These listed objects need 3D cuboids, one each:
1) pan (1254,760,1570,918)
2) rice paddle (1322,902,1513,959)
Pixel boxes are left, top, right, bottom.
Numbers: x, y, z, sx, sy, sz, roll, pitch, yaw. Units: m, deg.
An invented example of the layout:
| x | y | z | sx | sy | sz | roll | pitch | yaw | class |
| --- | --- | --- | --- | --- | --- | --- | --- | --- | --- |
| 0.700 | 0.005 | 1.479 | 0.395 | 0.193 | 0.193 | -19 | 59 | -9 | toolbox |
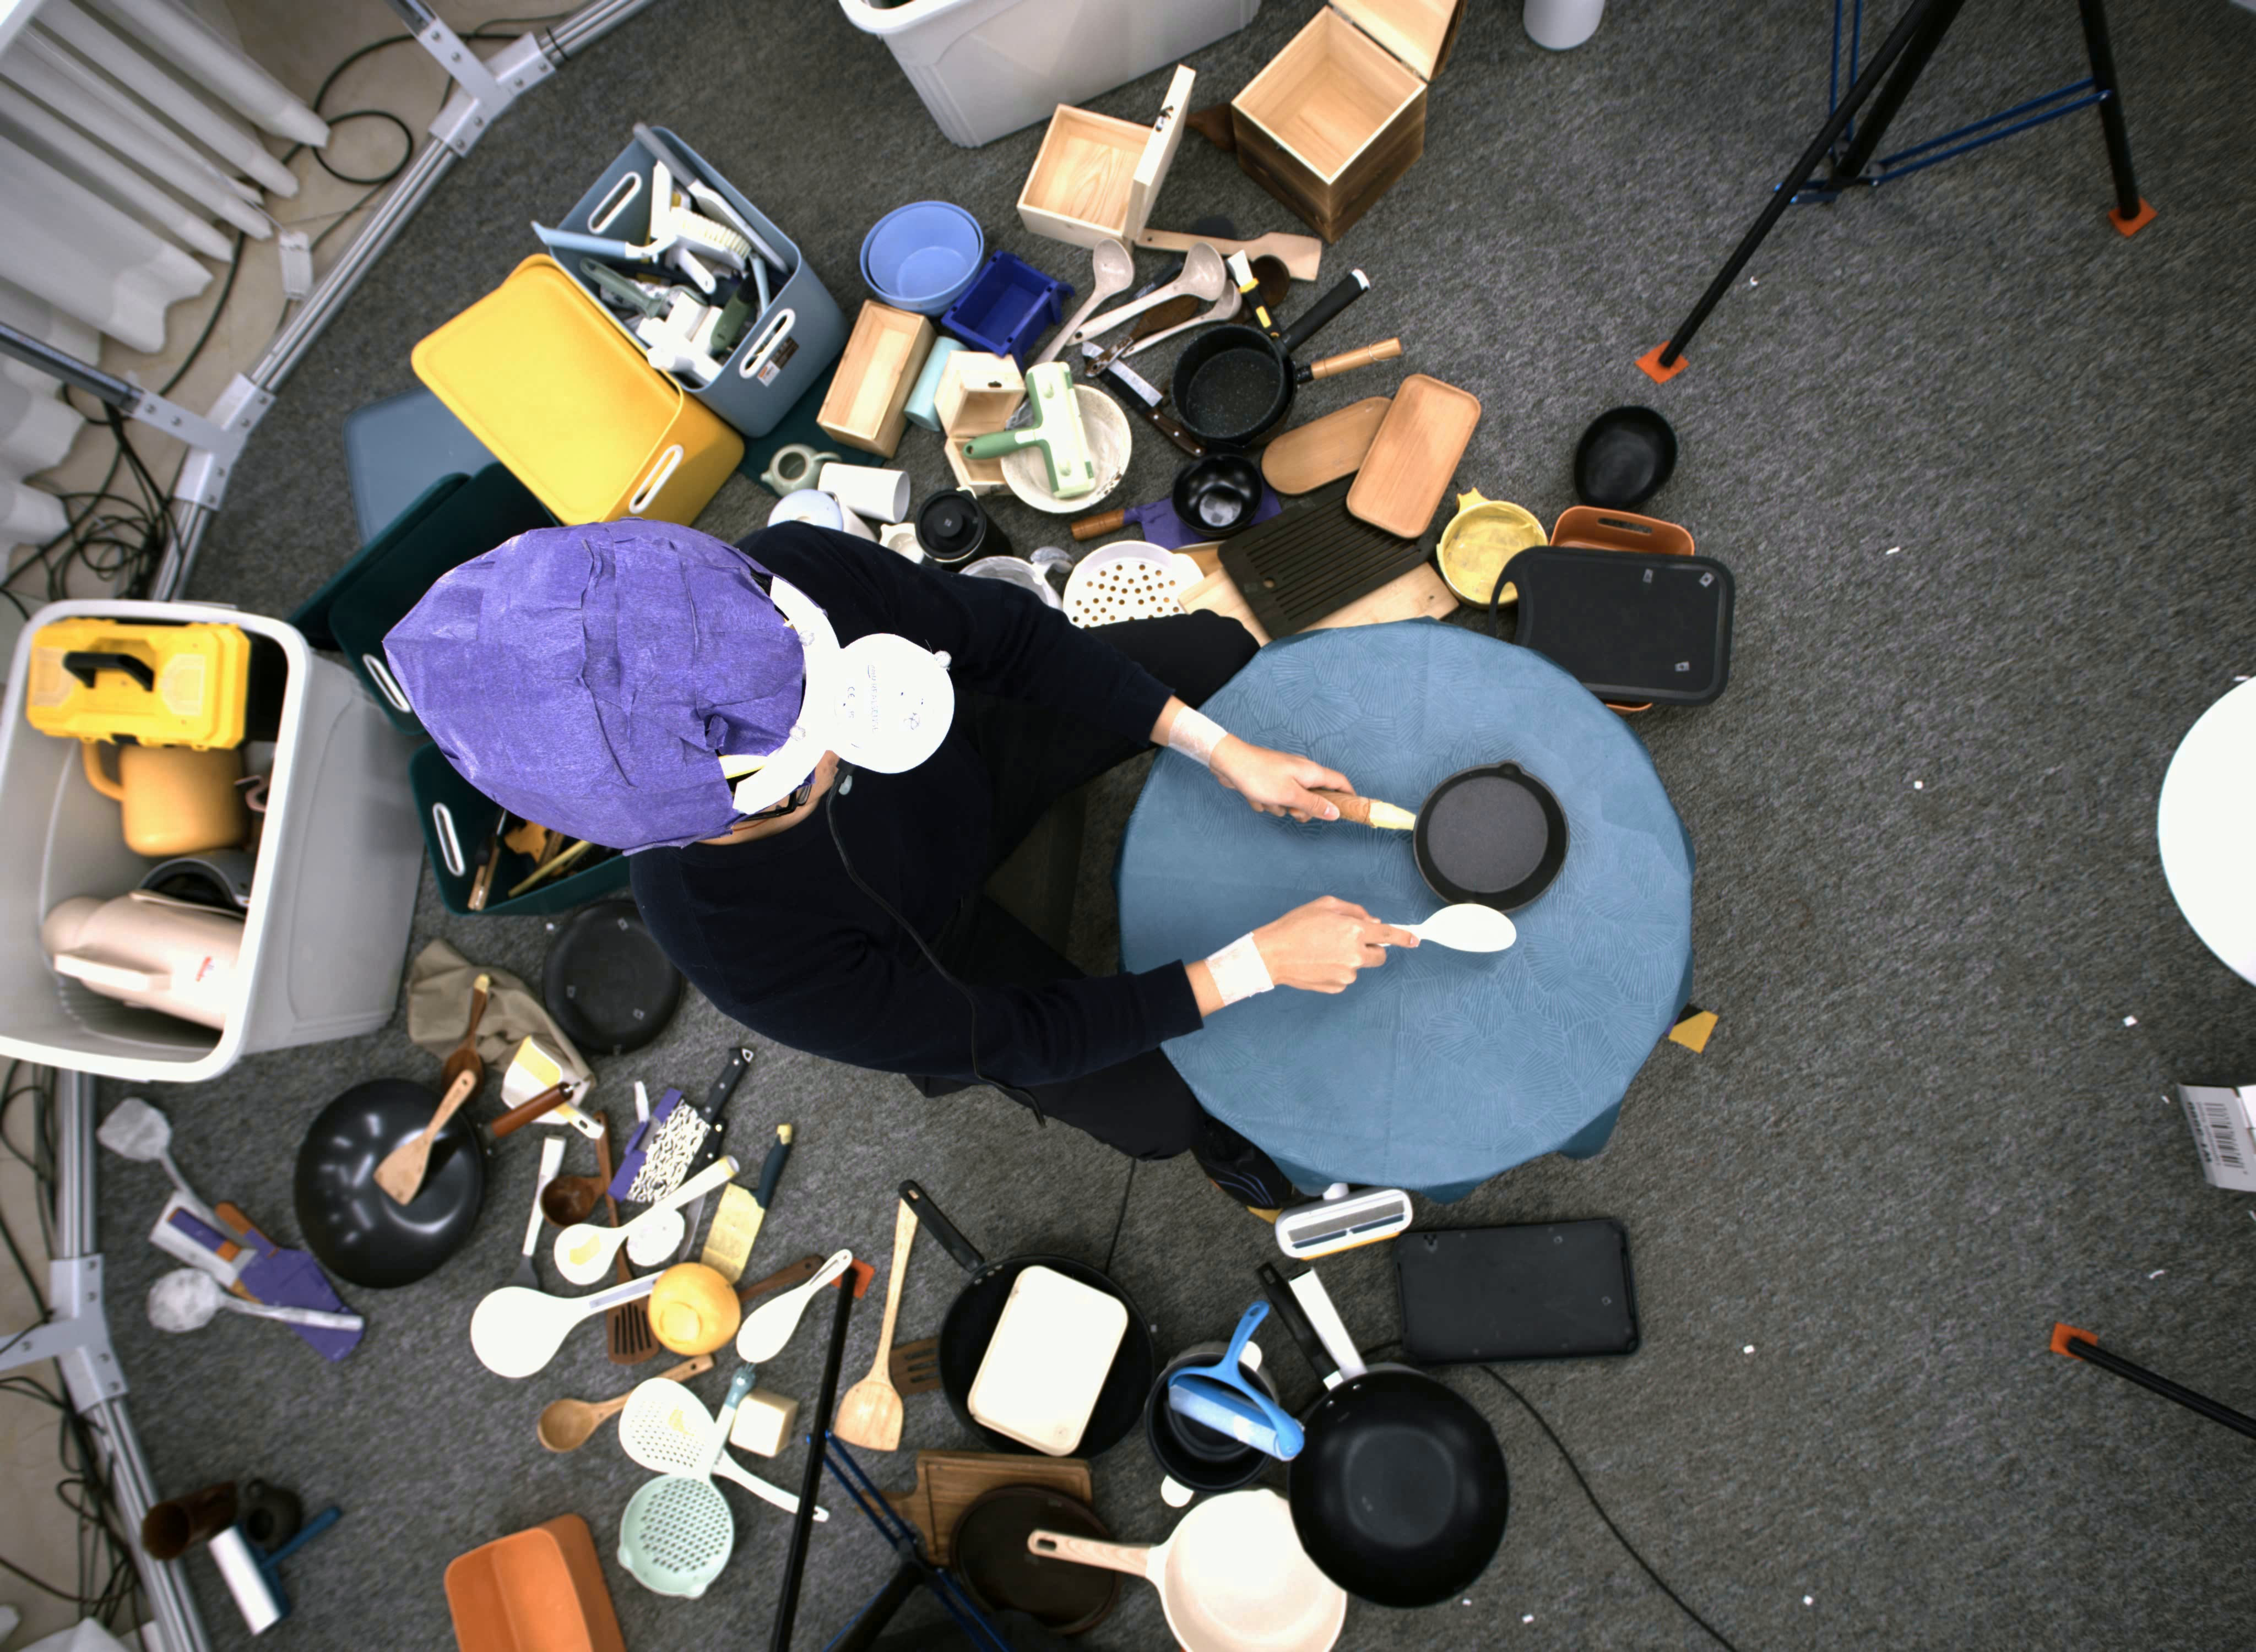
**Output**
| x | y | z | sx | sy | sz | roll | pitch | yaw | class |
| --- | --- | --- | --- | --- | --- | --- | --- | --- | --- |
| 0.288 | -0.010 | 1.409 | 0.324 | 0.049 | 0.171 | 15 | 105 | 3 | pan |
| 0.292 | 0.104 | 1.374 | 0.204 | 0.030 | 0.067 | -5 | 43 | -15 | rice paddle |
